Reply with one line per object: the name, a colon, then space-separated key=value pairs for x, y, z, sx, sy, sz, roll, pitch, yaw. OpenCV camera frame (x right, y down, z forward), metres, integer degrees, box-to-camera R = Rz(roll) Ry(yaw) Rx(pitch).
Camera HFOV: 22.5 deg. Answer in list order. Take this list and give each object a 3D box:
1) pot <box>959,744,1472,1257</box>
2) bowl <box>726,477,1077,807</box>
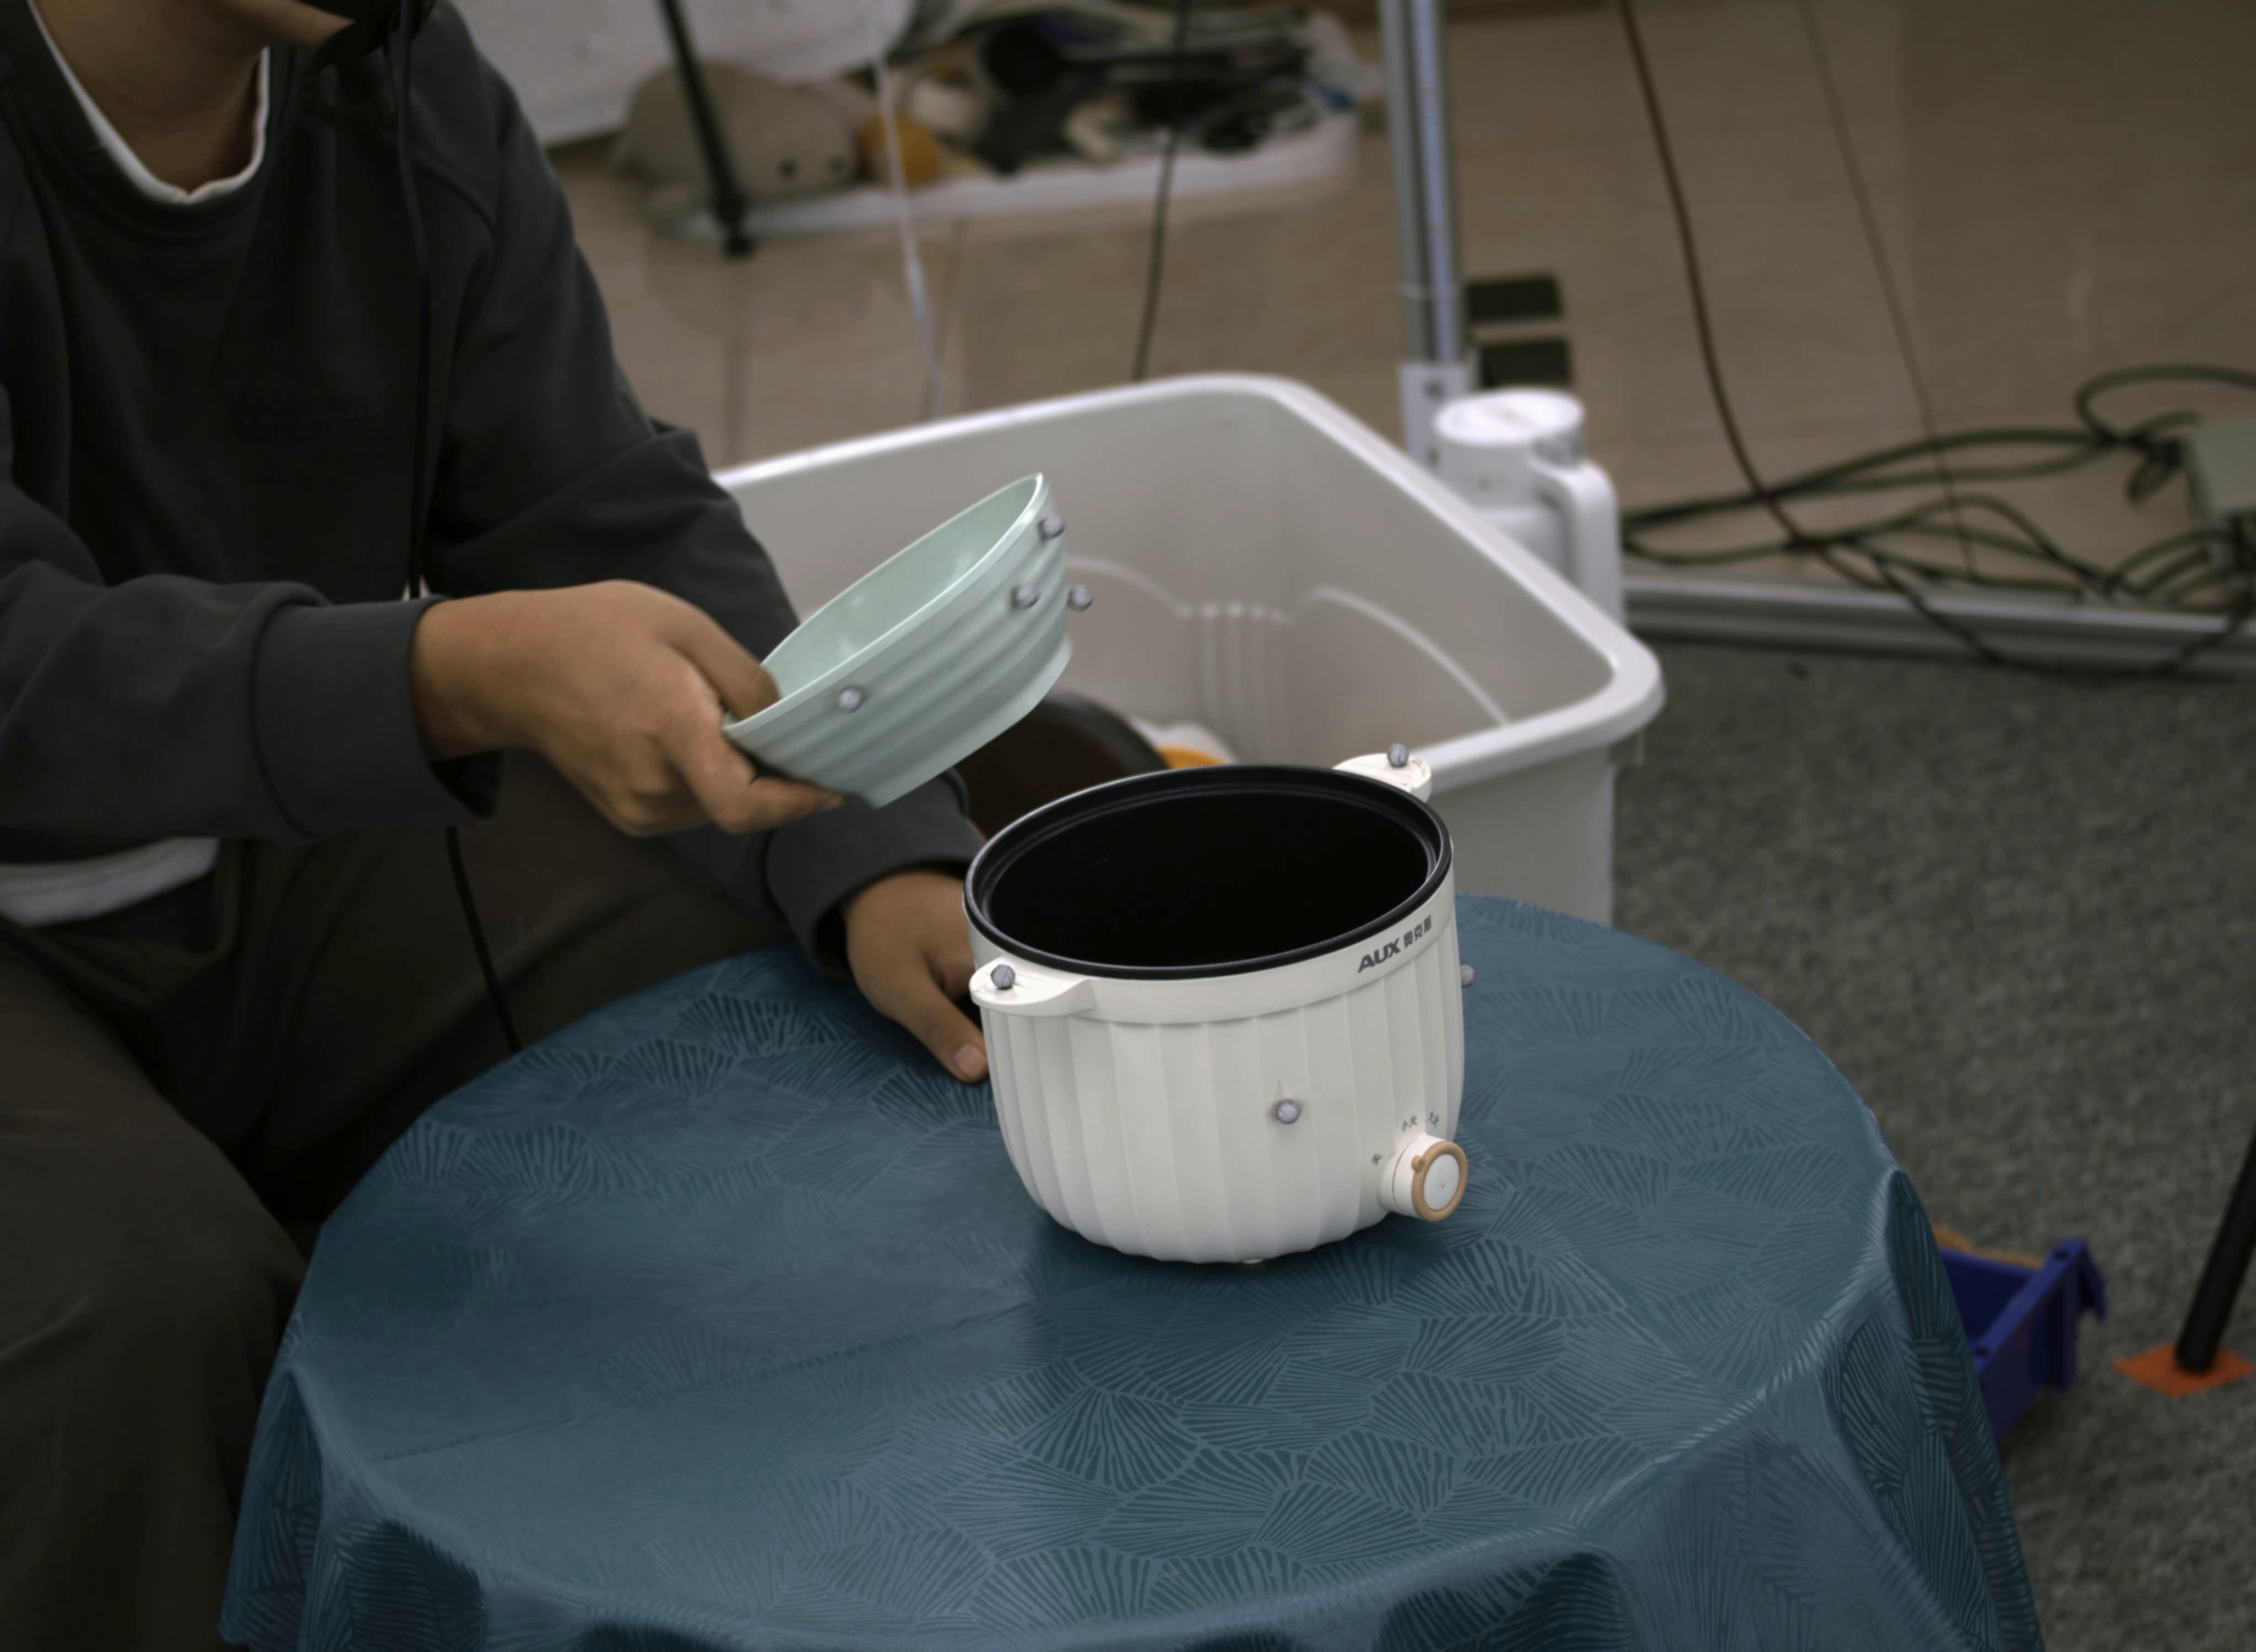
pot: x=0.040 y=0.072 z=2.113 sx=0.189 sy=0.145 sz=0.238 roll=11 pitch=32 yaw=40
bowl: x=-0.070 y=-0.059 z=2.035 sx=0.152 sy=0.059 sz=0.150 roll=-34 pitch=13 yaw=9
